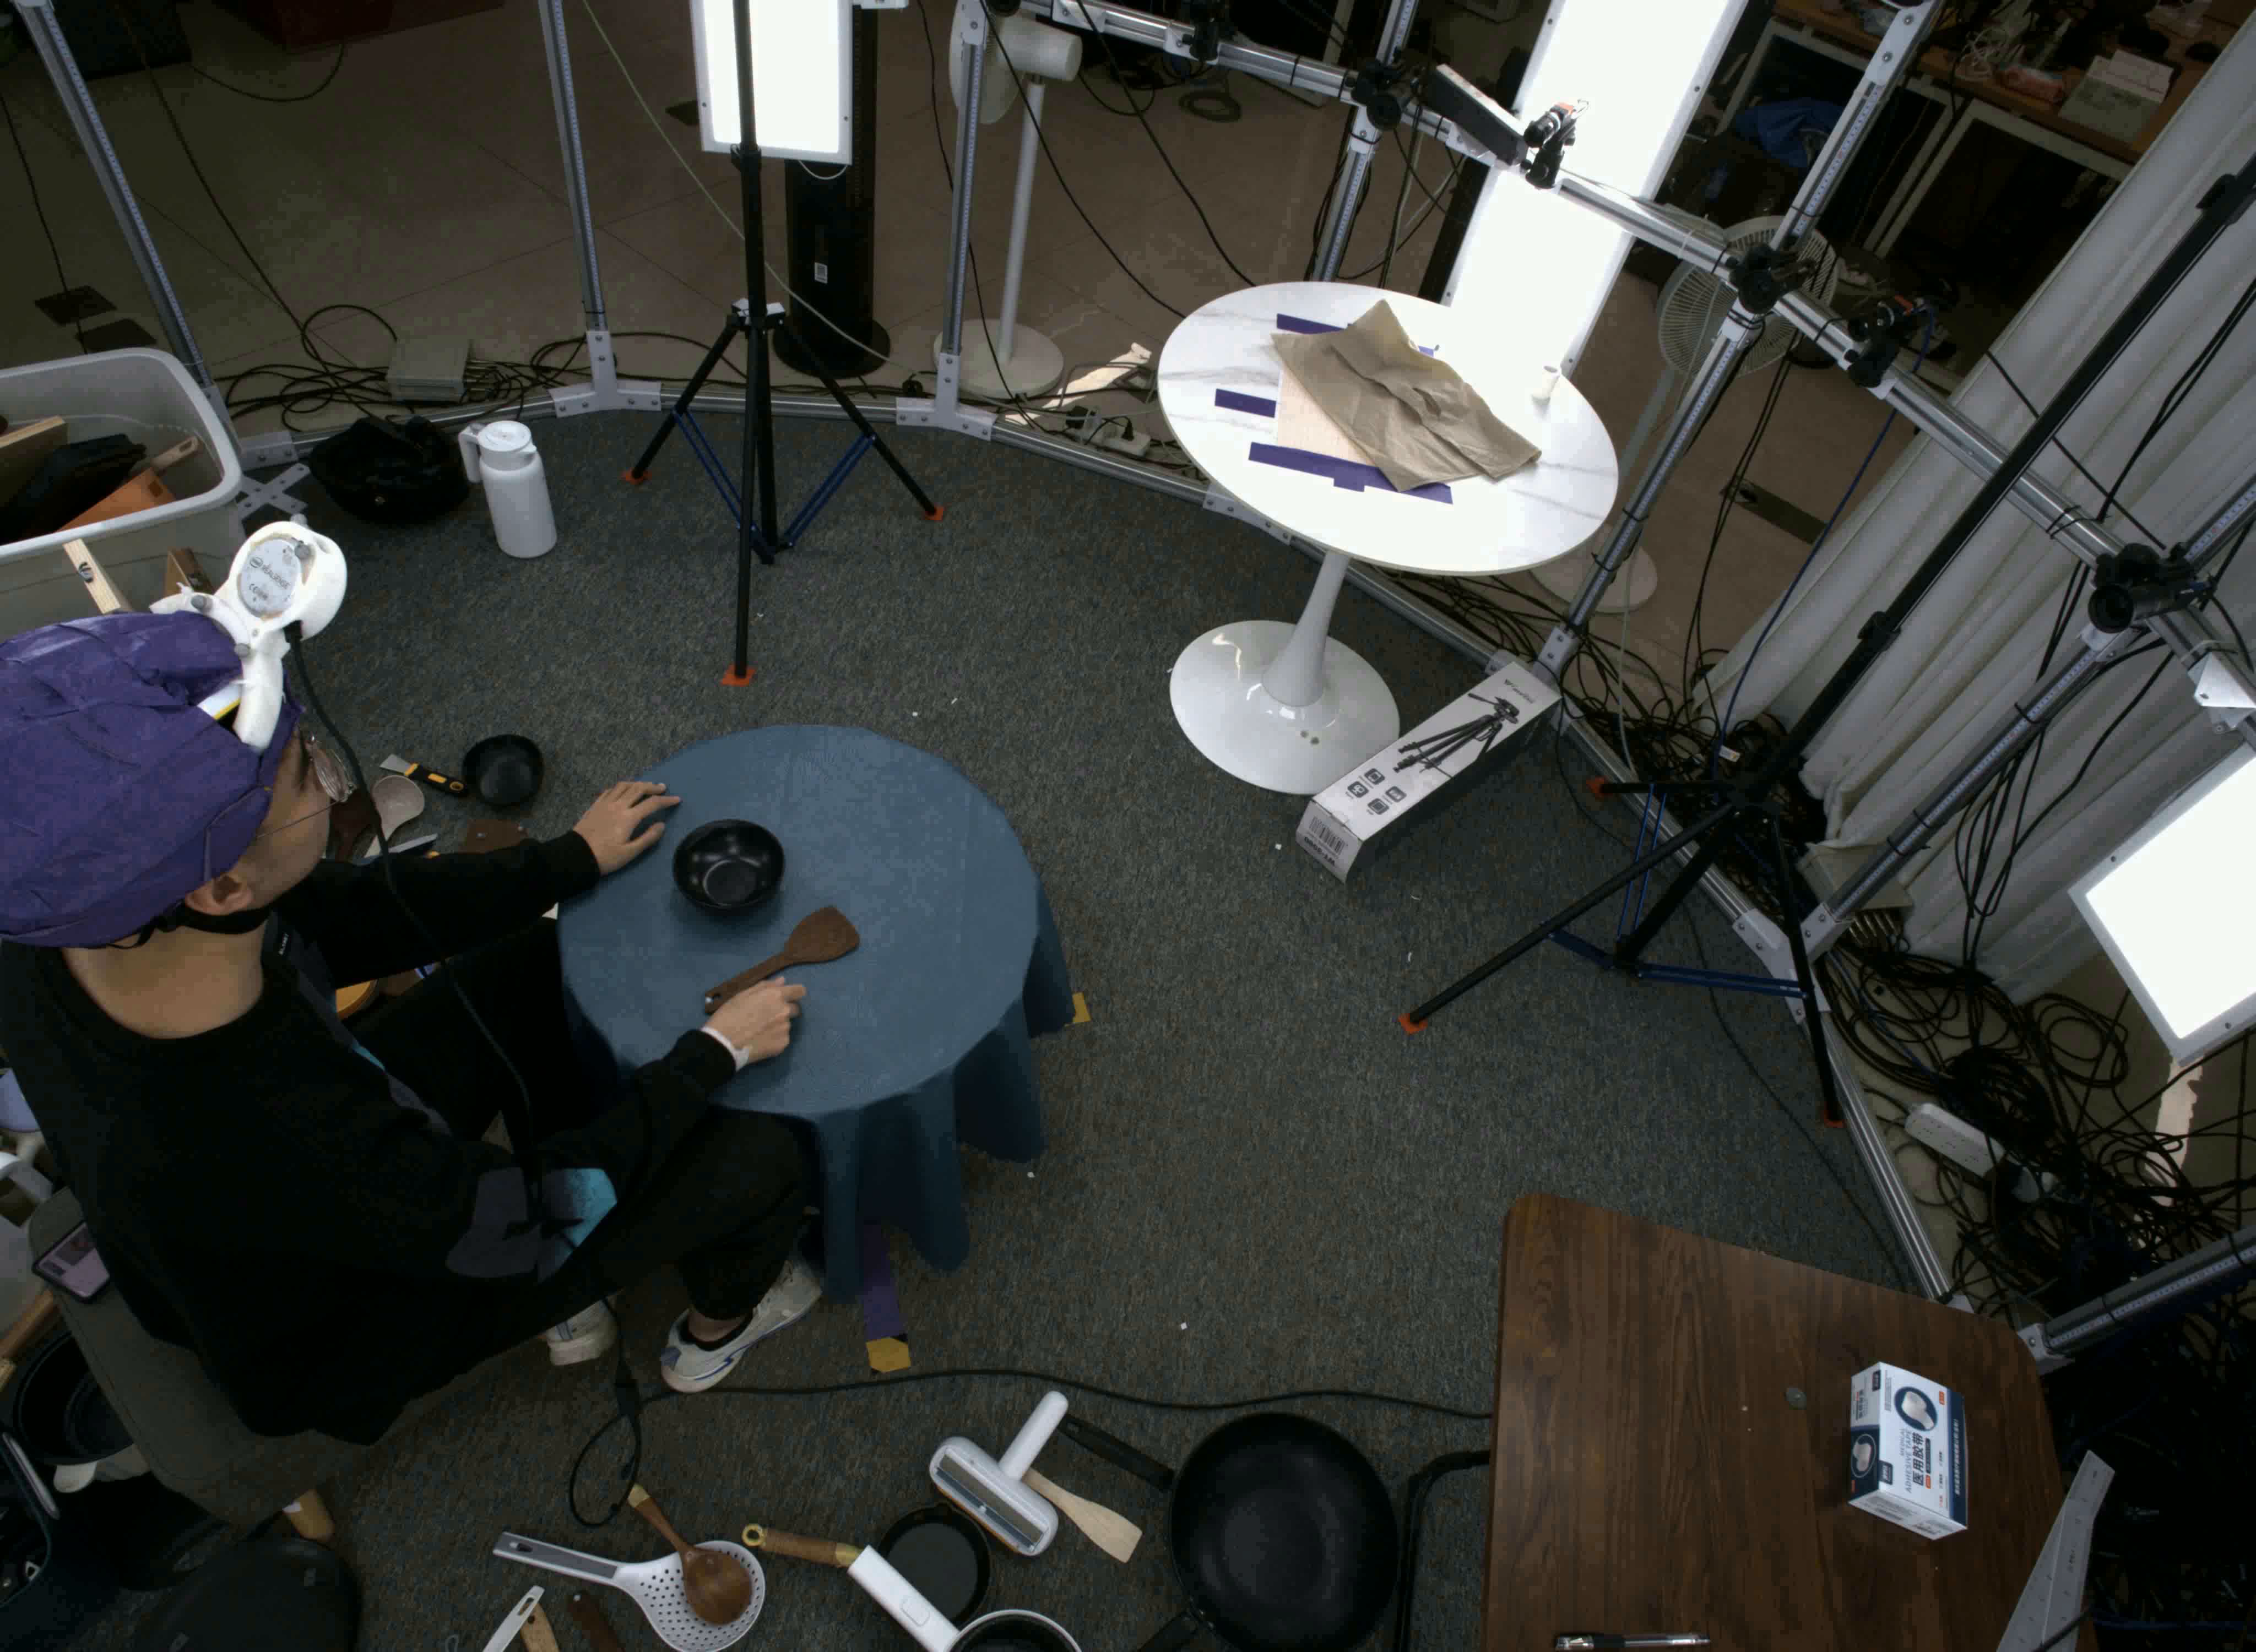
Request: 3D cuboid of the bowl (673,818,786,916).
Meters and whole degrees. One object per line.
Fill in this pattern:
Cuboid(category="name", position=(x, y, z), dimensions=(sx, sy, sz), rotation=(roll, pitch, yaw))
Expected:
Cuboid(category="bowl", position=(-0.503, 0.058, 1.635), dimensions=(0.140, 0.050, 0.138), rotation=(8, 55, -10))

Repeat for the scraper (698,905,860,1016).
Cuboid(category="scraper", position=(-0.433, 0.168, 1.596), dimensions=(0.212, 0.011, 0.074), rotation=(-32, 66, -31))
